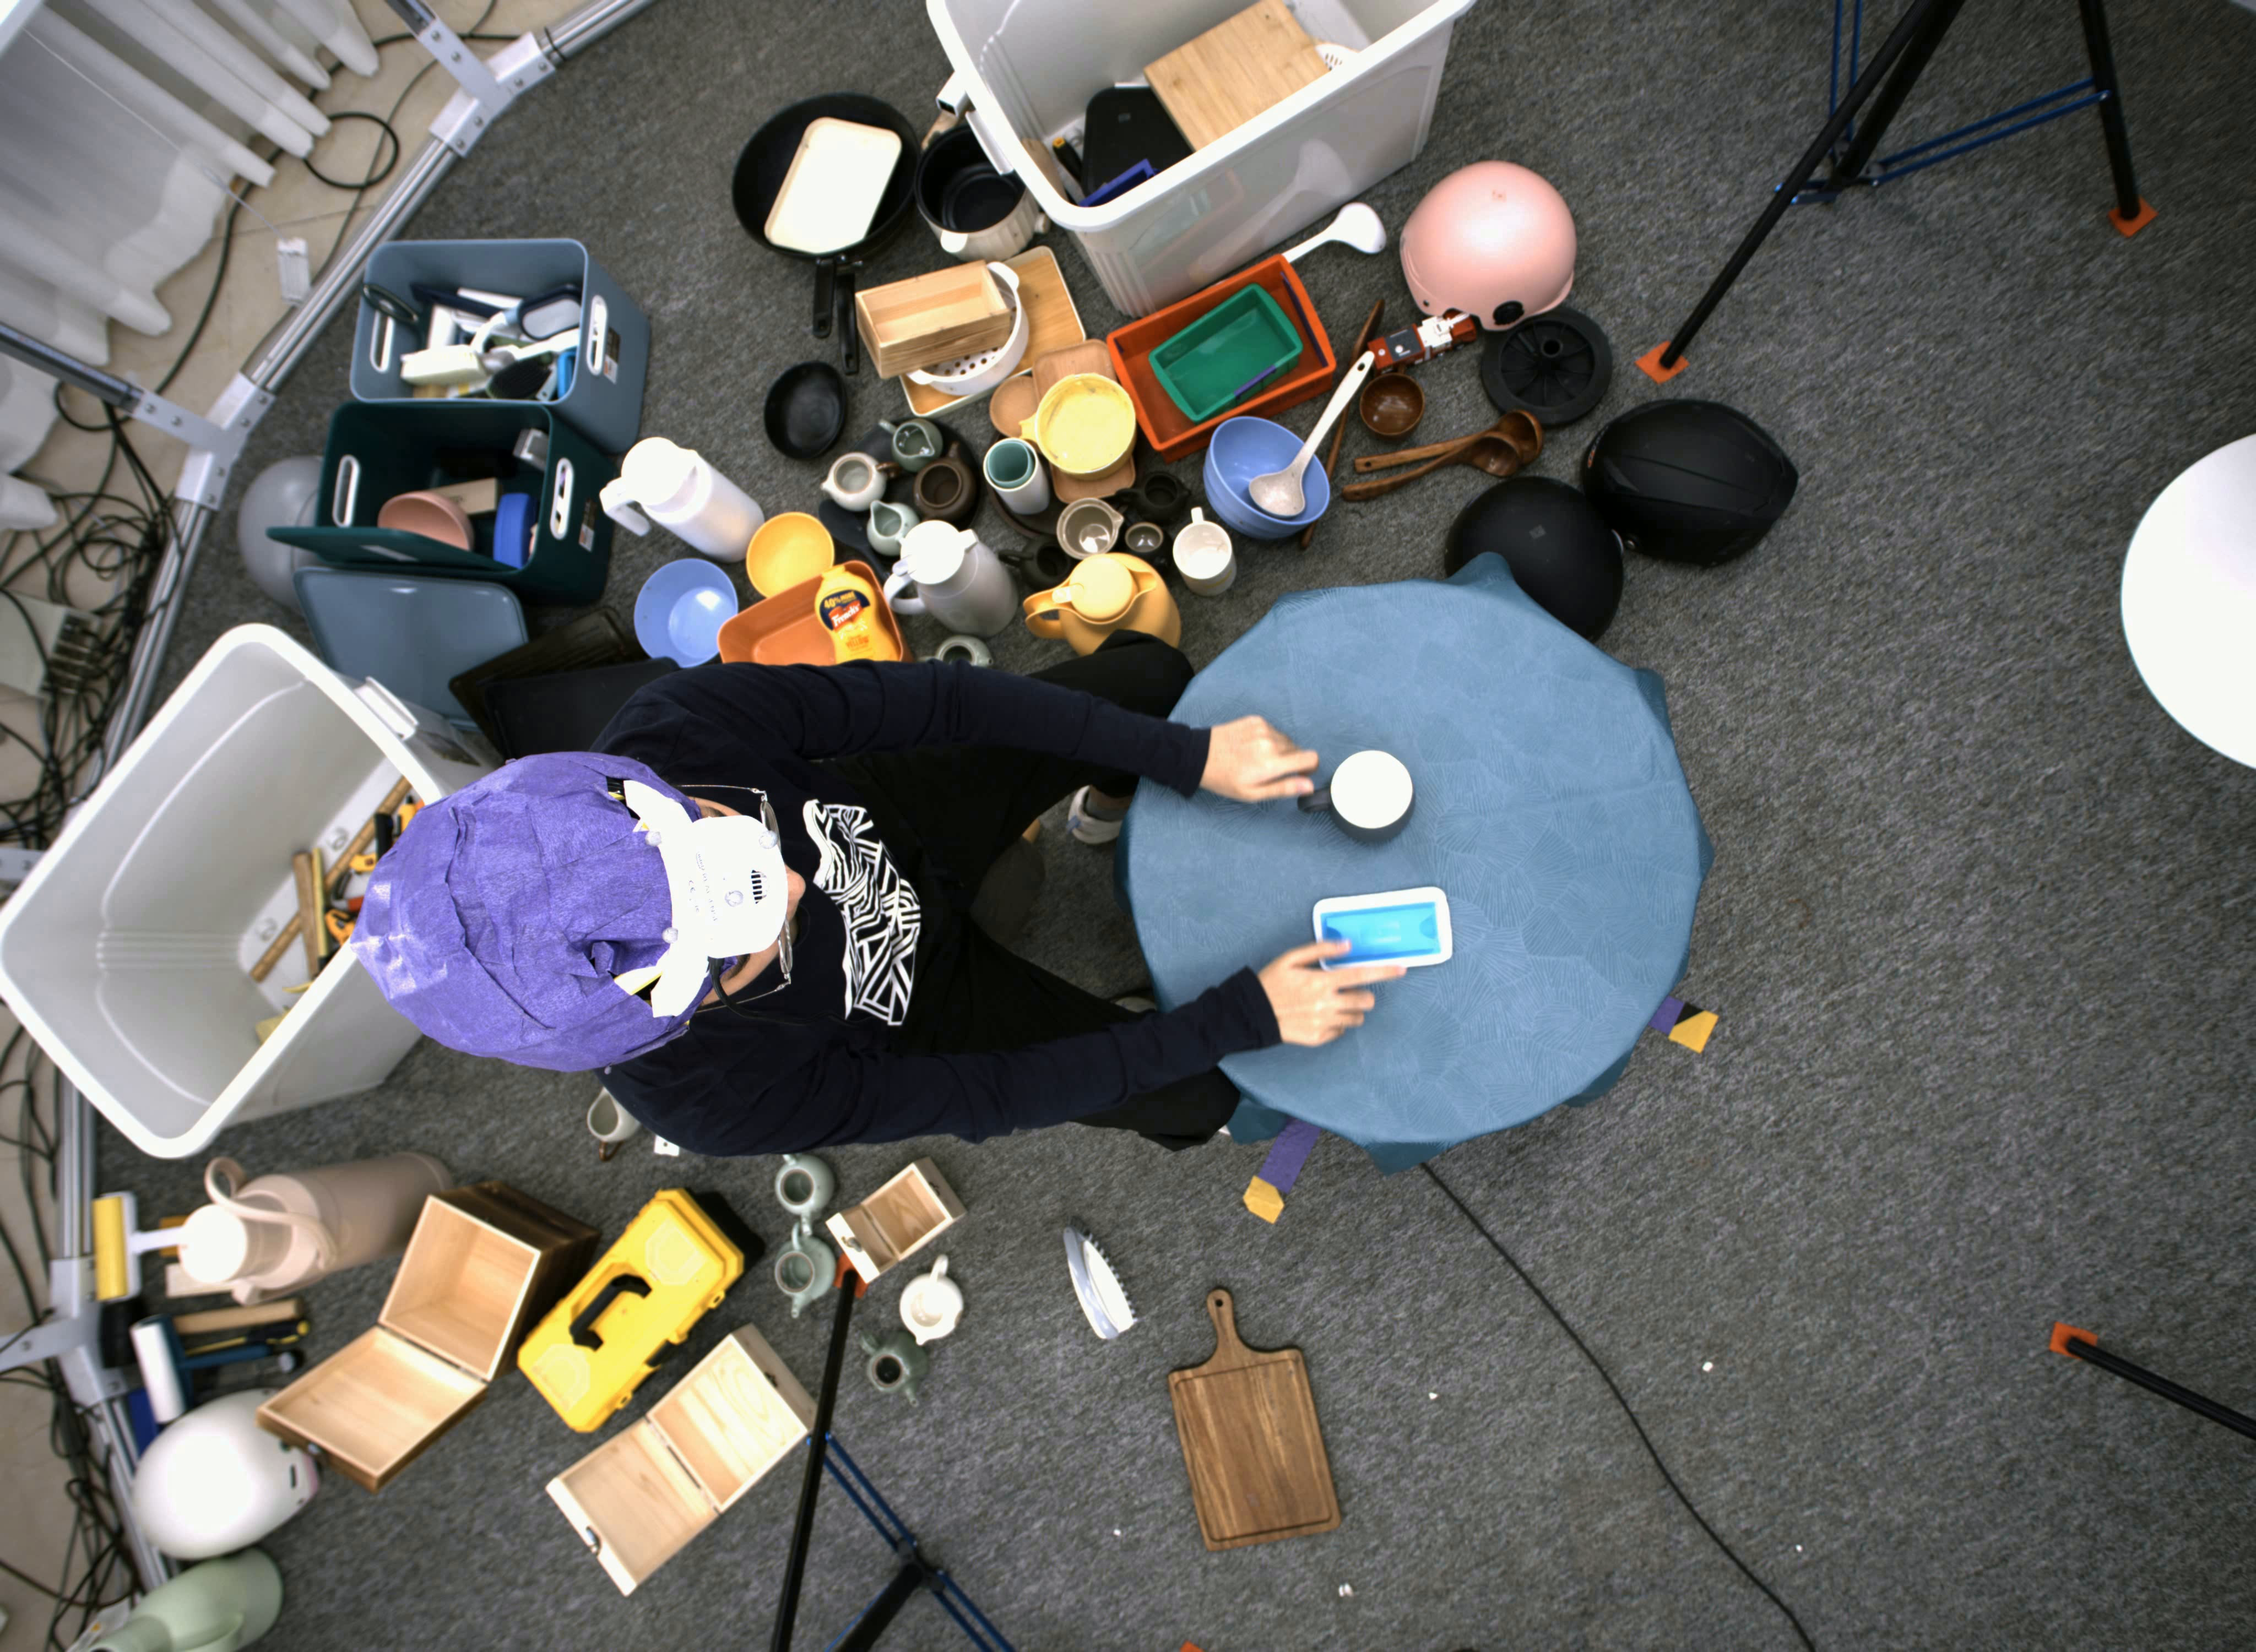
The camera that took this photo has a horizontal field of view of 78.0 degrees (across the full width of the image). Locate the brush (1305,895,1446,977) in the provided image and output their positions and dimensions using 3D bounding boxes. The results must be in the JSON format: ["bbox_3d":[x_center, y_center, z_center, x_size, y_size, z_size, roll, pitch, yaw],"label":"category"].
[{"bbox_3d":[0.256,0.109,1.428,0.144,0.056,0.083,-4,83,7],"label":"brush"}]

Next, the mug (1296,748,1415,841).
[{"bbox_3d":[0.235,-0.034,1.422,0.124,0.090,0.093,-6,83,8],"label":"mug"}]
